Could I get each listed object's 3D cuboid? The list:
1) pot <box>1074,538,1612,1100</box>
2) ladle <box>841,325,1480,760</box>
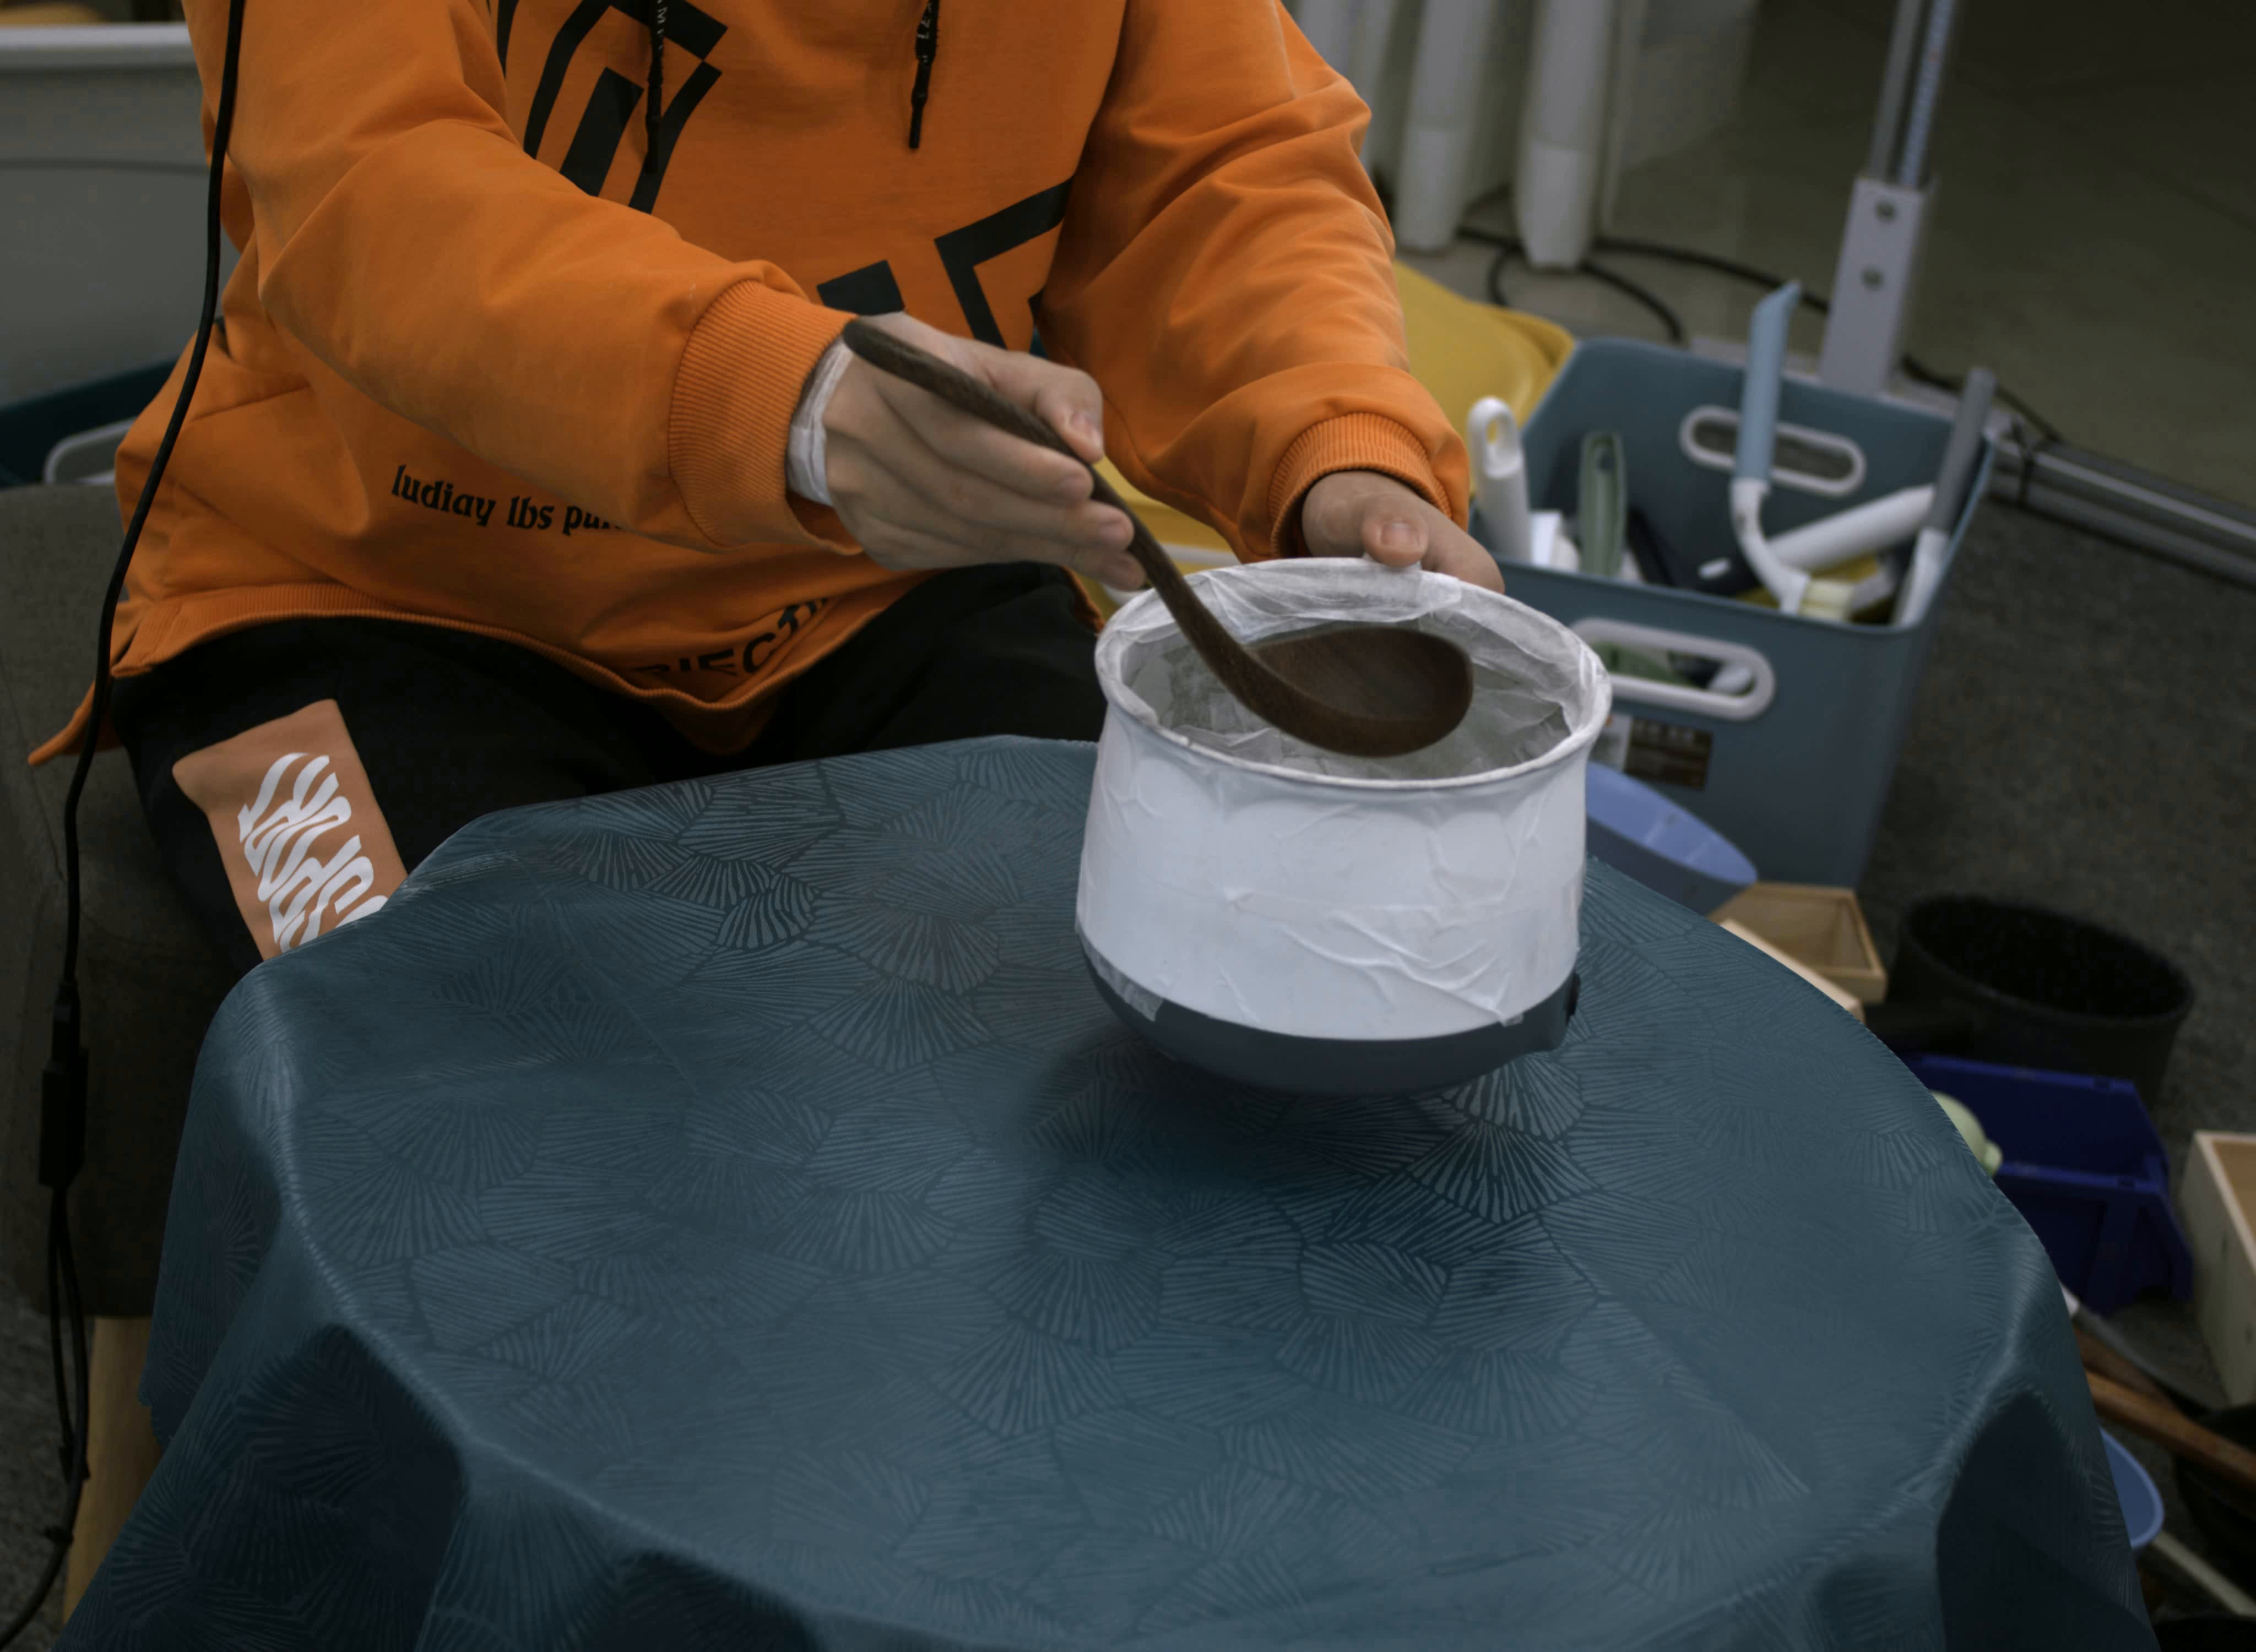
[{"bbox_3d":[0.075,-0.010,1.860,0.178,0.136,0.234,8,27,6],"label":"pot"},{"bbox_3d":[0.016,-0.105,1.757,0.271,0.071,0.076,42,-2,-35],"label":"ladle"}]
